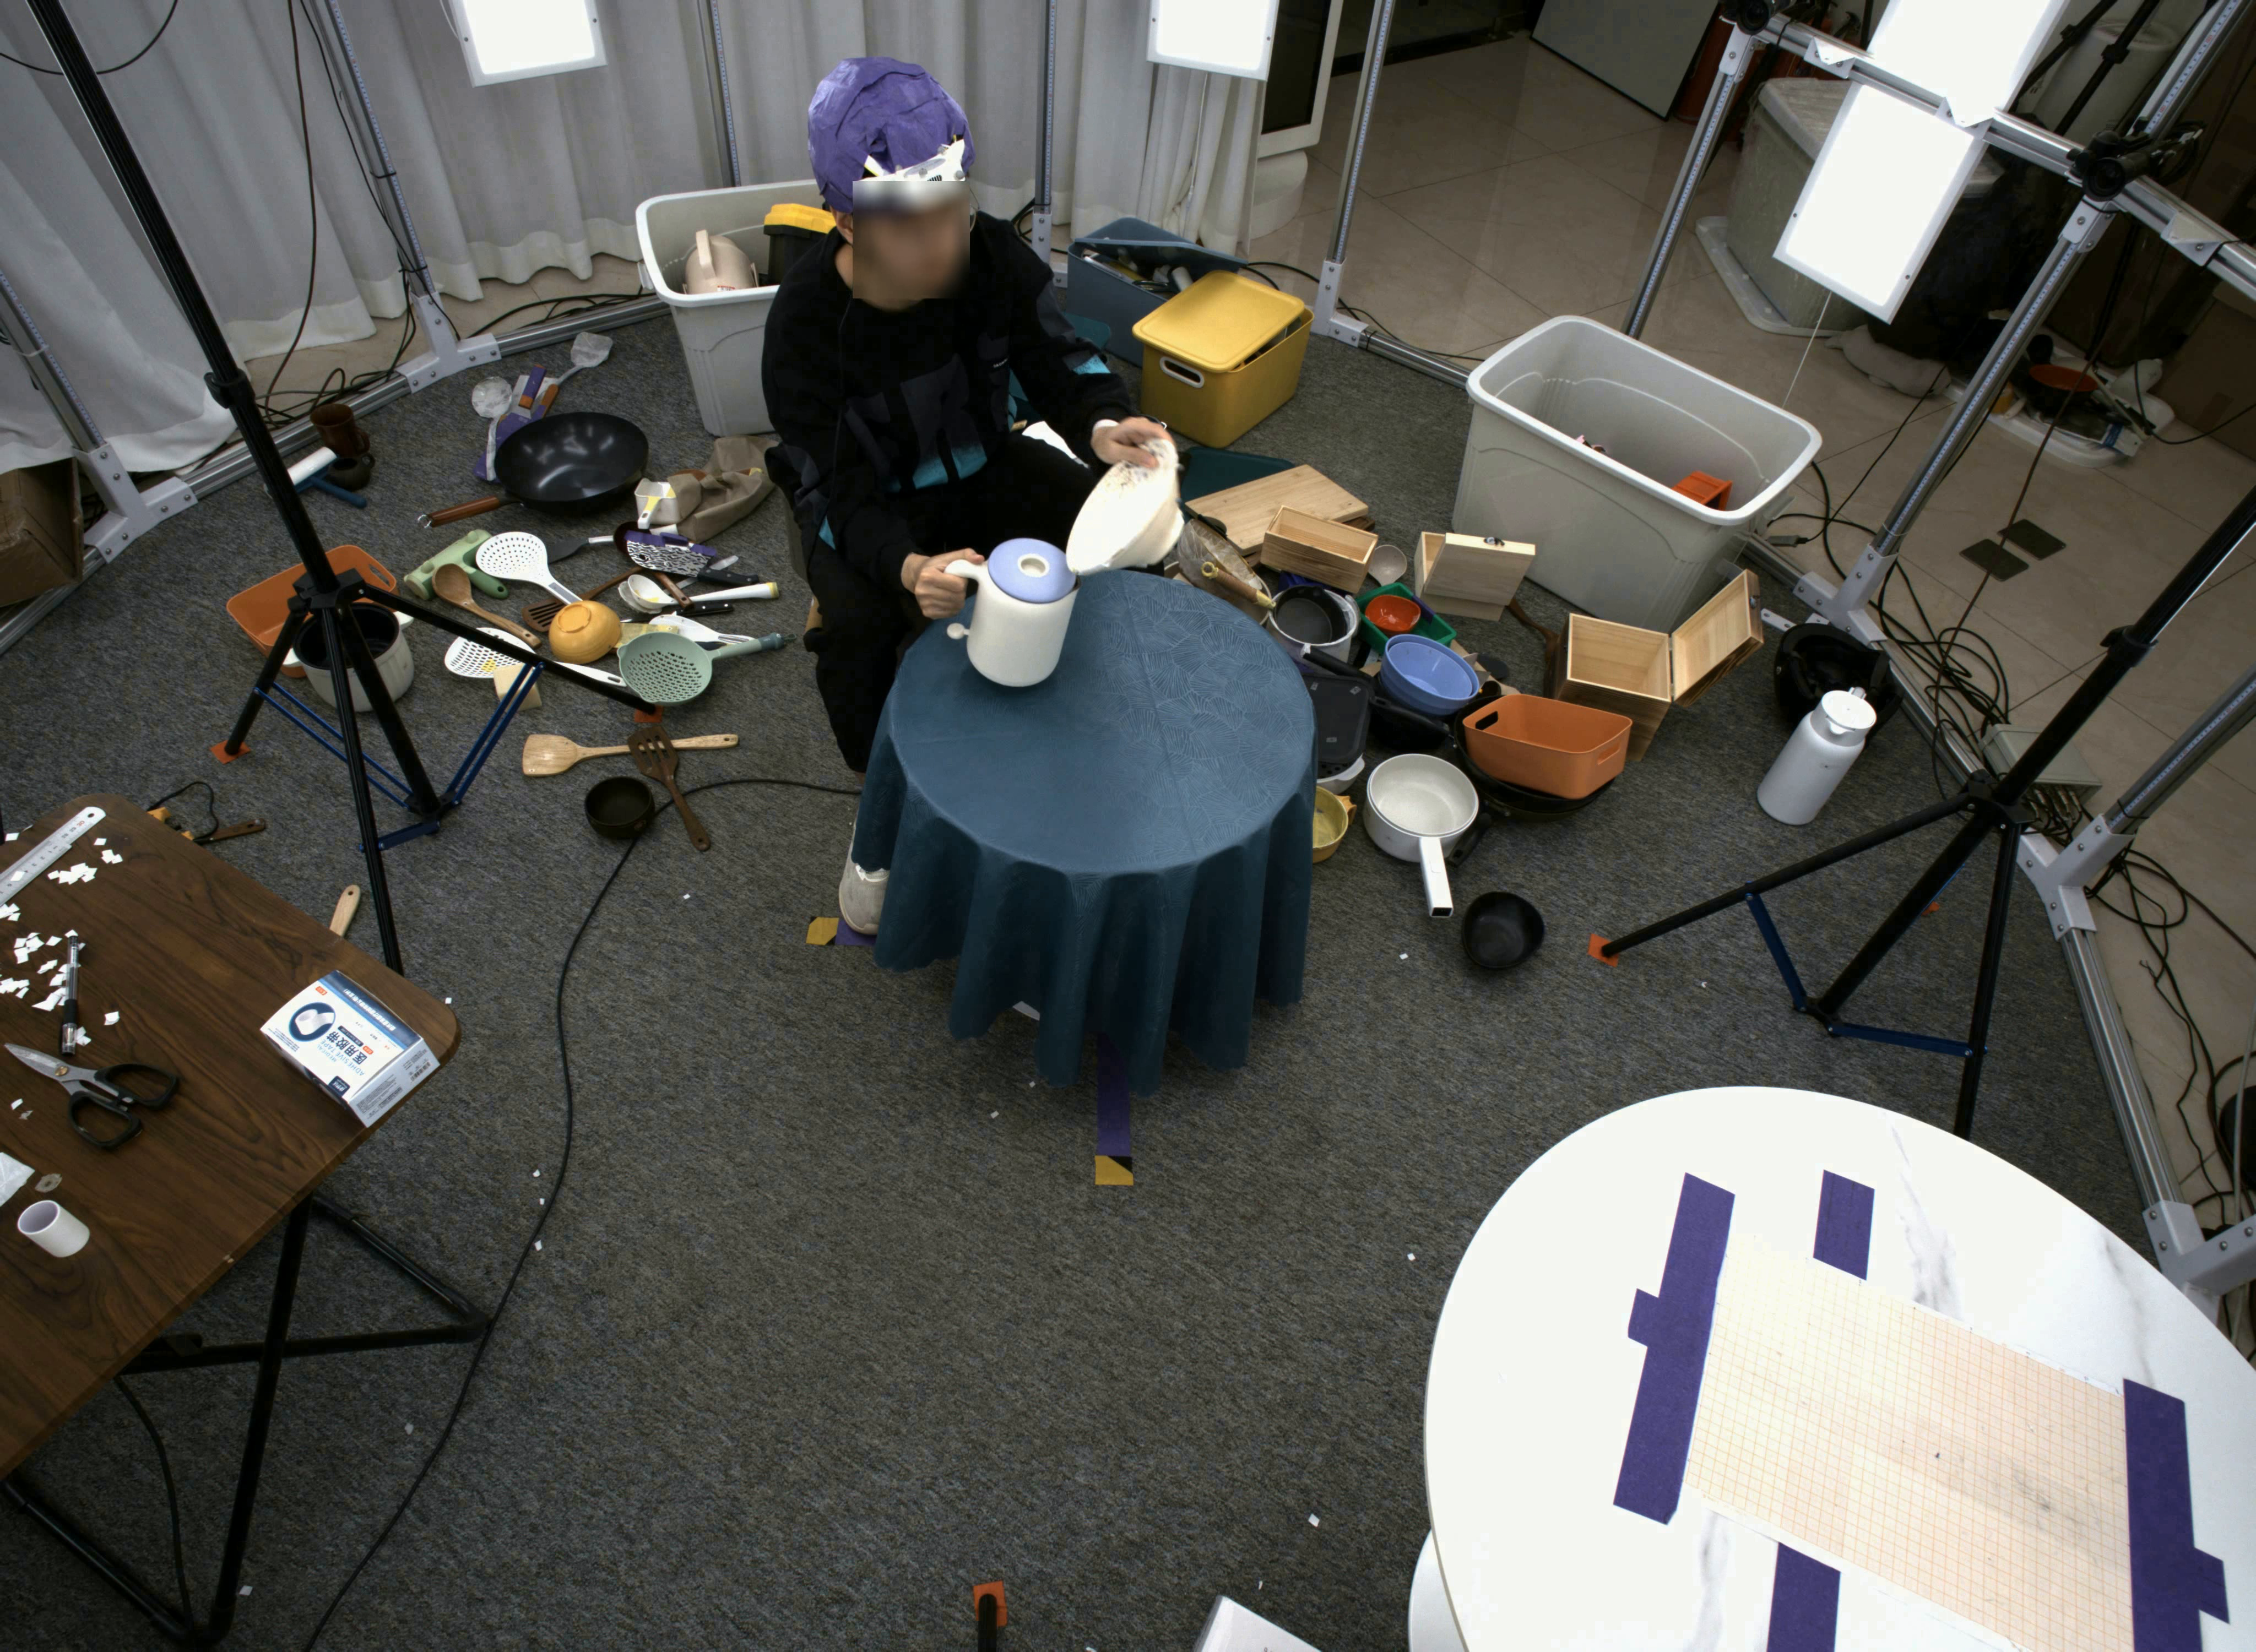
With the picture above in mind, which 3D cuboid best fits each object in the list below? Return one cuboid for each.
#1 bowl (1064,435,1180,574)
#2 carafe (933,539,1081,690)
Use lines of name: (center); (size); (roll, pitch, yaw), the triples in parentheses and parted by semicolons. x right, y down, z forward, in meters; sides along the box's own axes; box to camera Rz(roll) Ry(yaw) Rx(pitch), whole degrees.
bowl: (0.010, -0.388, 1.635); (0.077, 0.202, 0.209); (32, 44, -25)
carafe: (-0.168, -0.291, 1.759); (0.191, 0.178, 0.135); (8, 49, -5)
